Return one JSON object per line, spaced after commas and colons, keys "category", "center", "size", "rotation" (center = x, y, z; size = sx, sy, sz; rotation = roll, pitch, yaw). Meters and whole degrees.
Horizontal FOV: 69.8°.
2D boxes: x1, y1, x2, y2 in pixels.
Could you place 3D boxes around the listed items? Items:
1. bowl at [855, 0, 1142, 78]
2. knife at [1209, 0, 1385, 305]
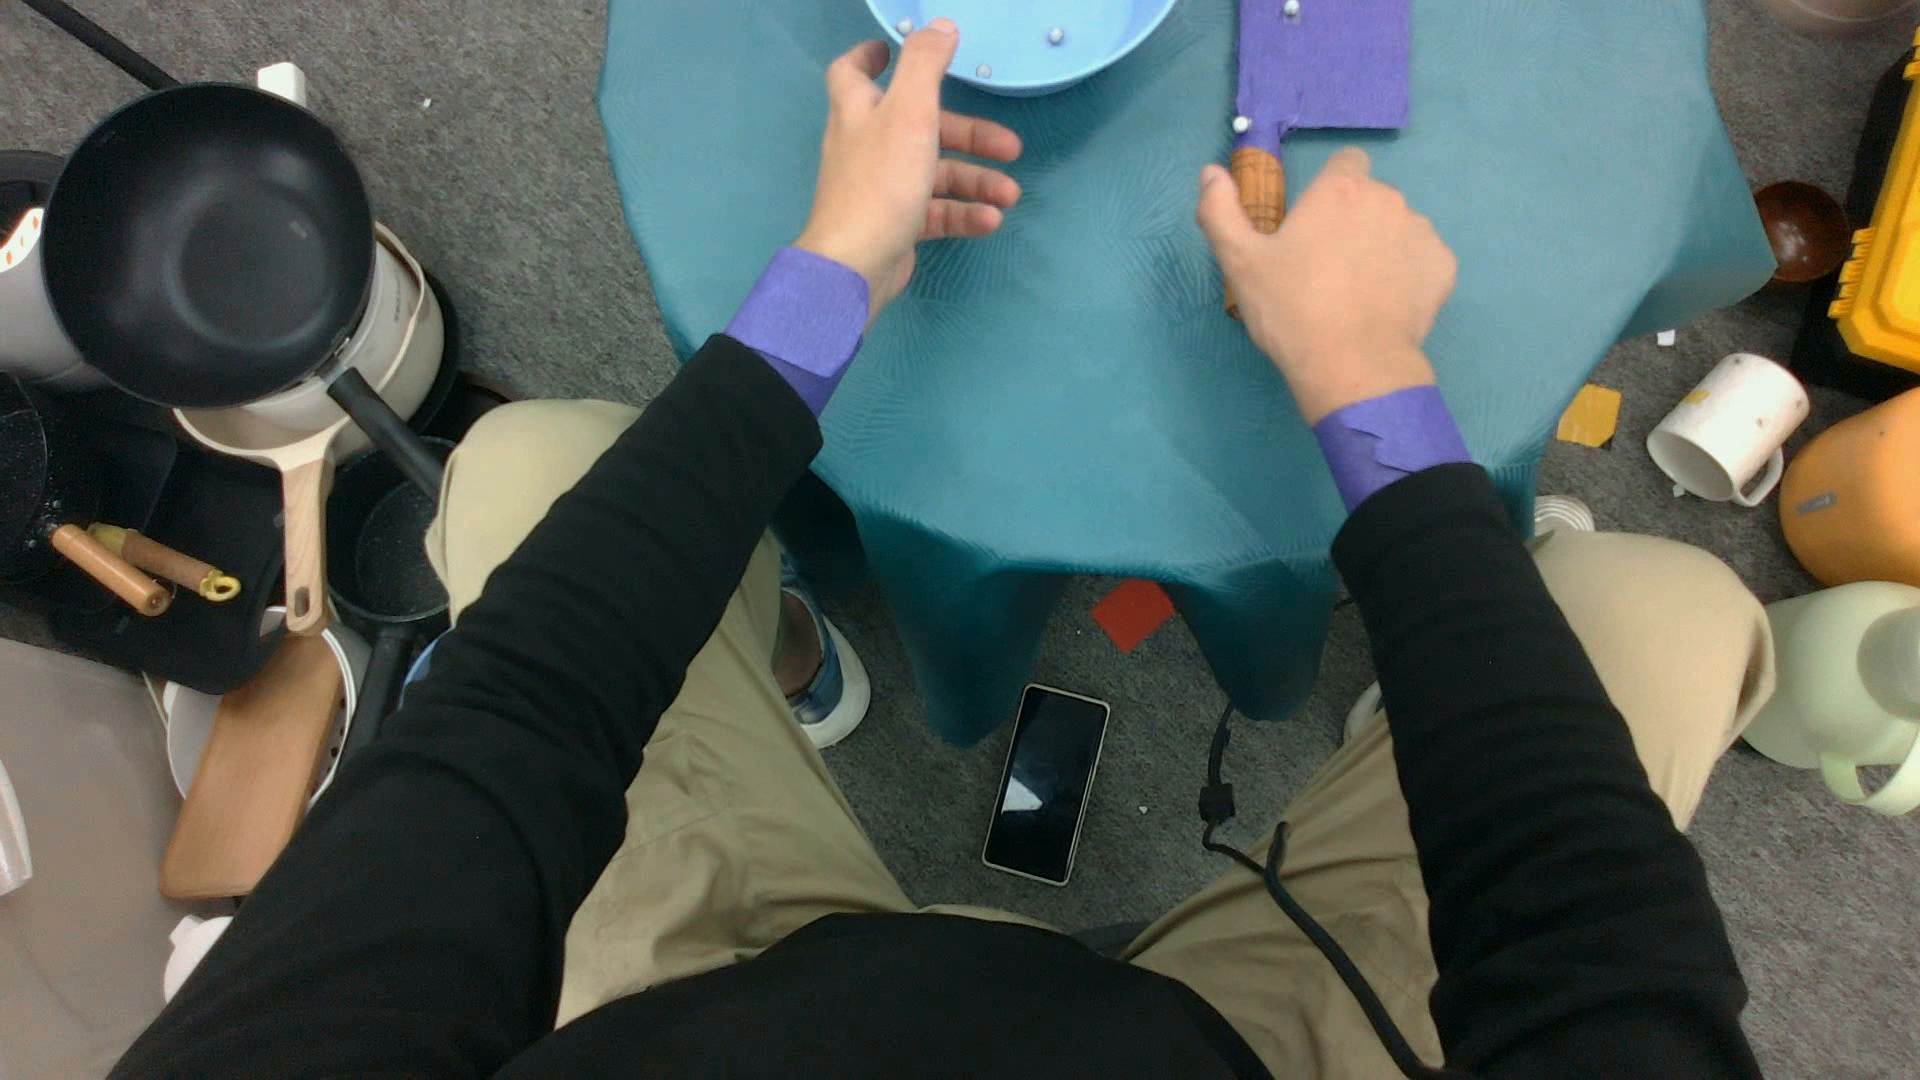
{"category": "bowl", "center": [0.024, -0.315, 0.729], "size": [0.176, 0.070, 0.176], "rotation": [-1, 81, 4]}
{"category": "knife", "center": [0.178, -0.279, 0.735], "size": [0.104, 0.032, 0.316], "rotation": [0, 79, 4]}
